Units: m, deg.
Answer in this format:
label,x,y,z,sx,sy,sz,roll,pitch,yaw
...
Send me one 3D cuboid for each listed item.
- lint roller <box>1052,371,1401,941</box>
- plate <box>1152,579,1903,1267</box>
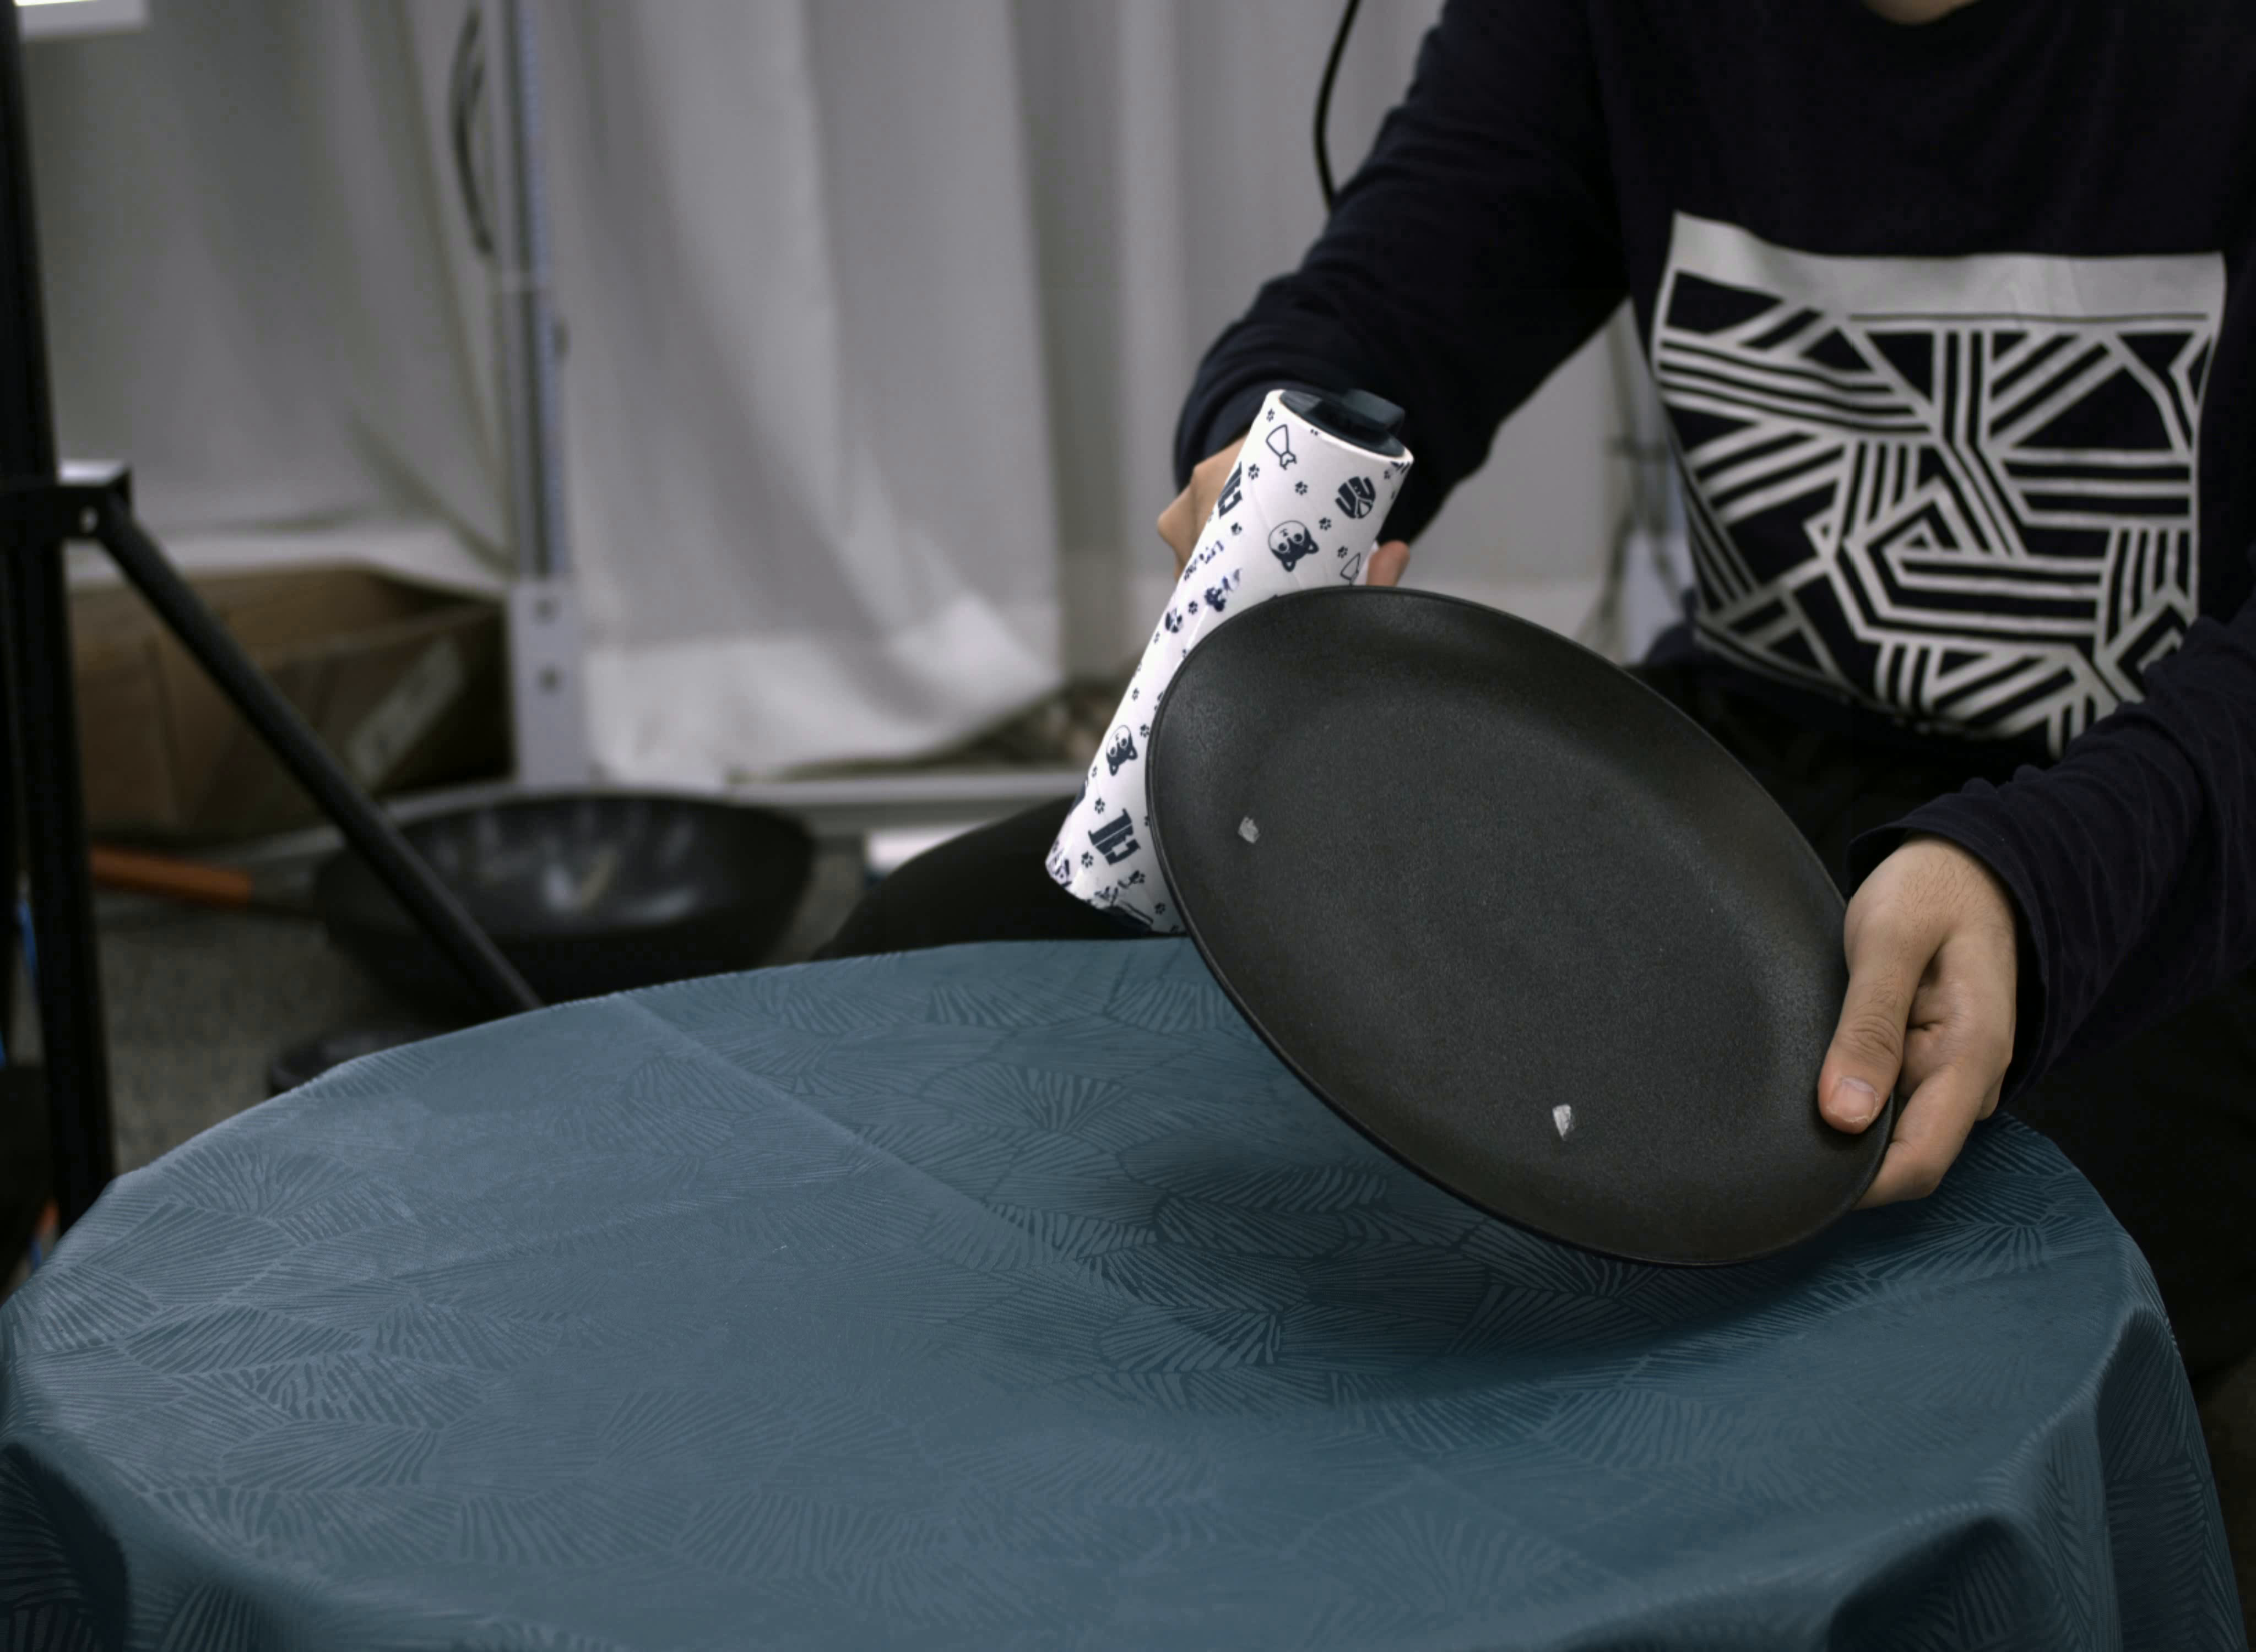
label,x,y,z,sx,sy,sz,roll,pitch,yaw
lint roller,0.047,-0.068,1.672,0.050,0.177,0.245,25,15,5
plate,0.111,0.030,1.498,0.240,0.023,0.247,18,42,-18
